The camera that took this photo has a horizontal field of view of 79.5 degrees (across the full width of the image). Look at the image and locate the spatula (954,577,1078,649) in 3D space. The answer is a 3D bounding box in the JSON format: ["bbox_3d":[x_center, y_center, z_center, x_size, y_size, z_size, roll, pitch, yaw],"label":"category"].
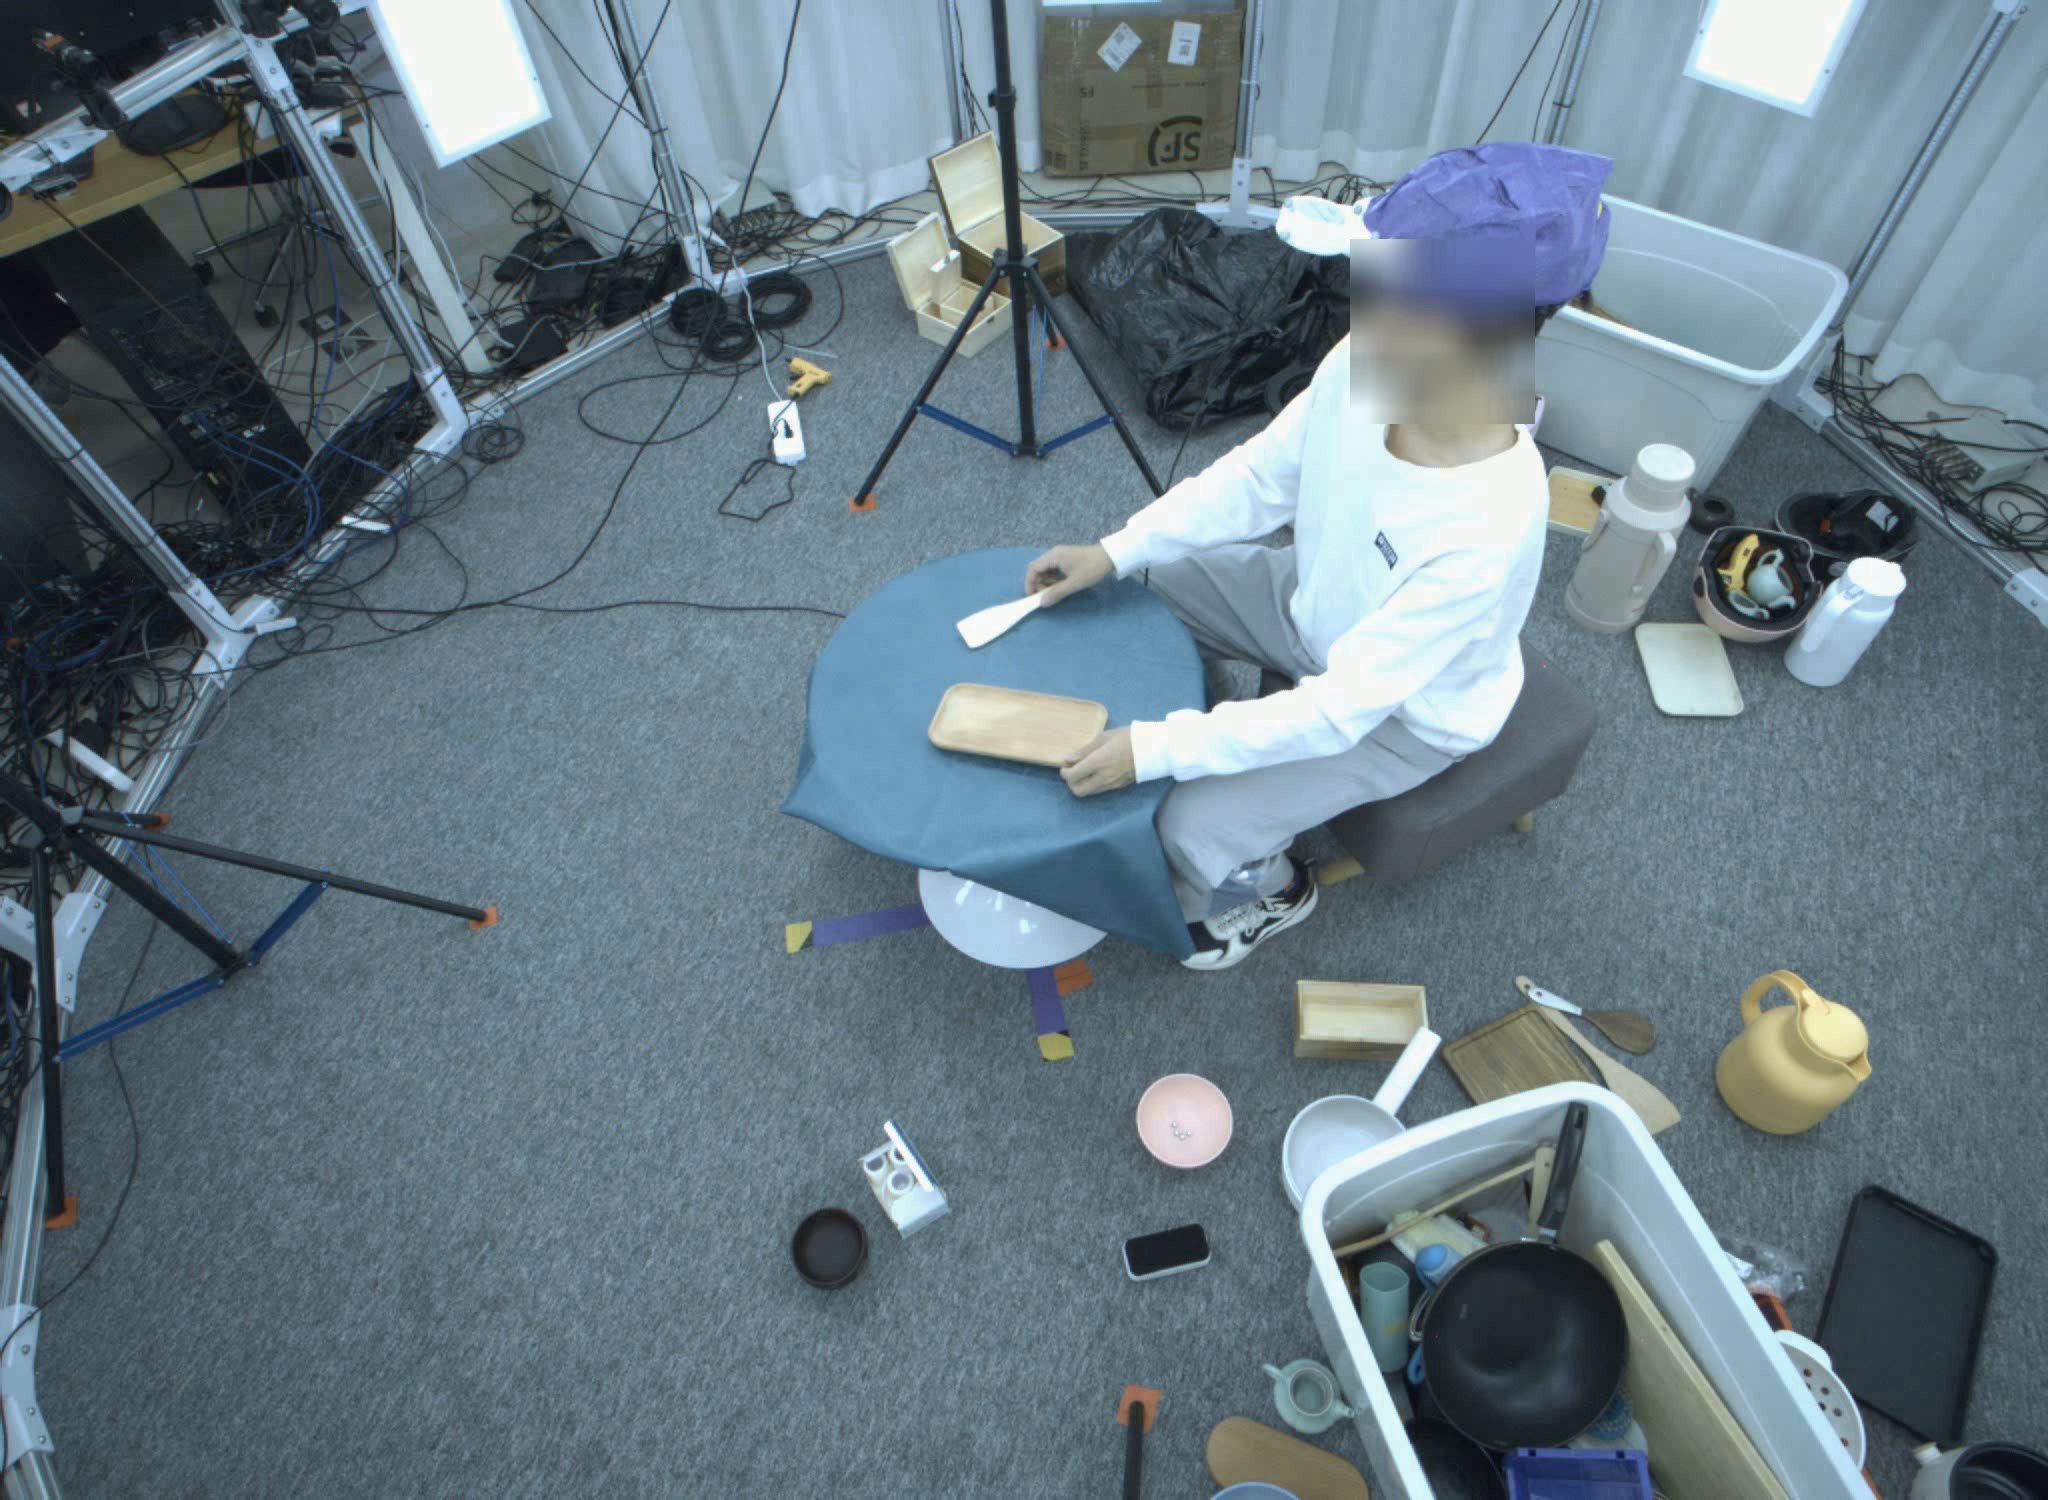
[{"bbox_3d":[-0.008,-0.220,1.923,0.209,0.005,0.050,-27,71,-12],"label":"spatula"}]

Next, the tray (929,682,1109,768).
[{"bbox_3d":[-0.007,-0.037,1.786,0.248,0.023,0.130,10,53,13],"label":"tray"}]
